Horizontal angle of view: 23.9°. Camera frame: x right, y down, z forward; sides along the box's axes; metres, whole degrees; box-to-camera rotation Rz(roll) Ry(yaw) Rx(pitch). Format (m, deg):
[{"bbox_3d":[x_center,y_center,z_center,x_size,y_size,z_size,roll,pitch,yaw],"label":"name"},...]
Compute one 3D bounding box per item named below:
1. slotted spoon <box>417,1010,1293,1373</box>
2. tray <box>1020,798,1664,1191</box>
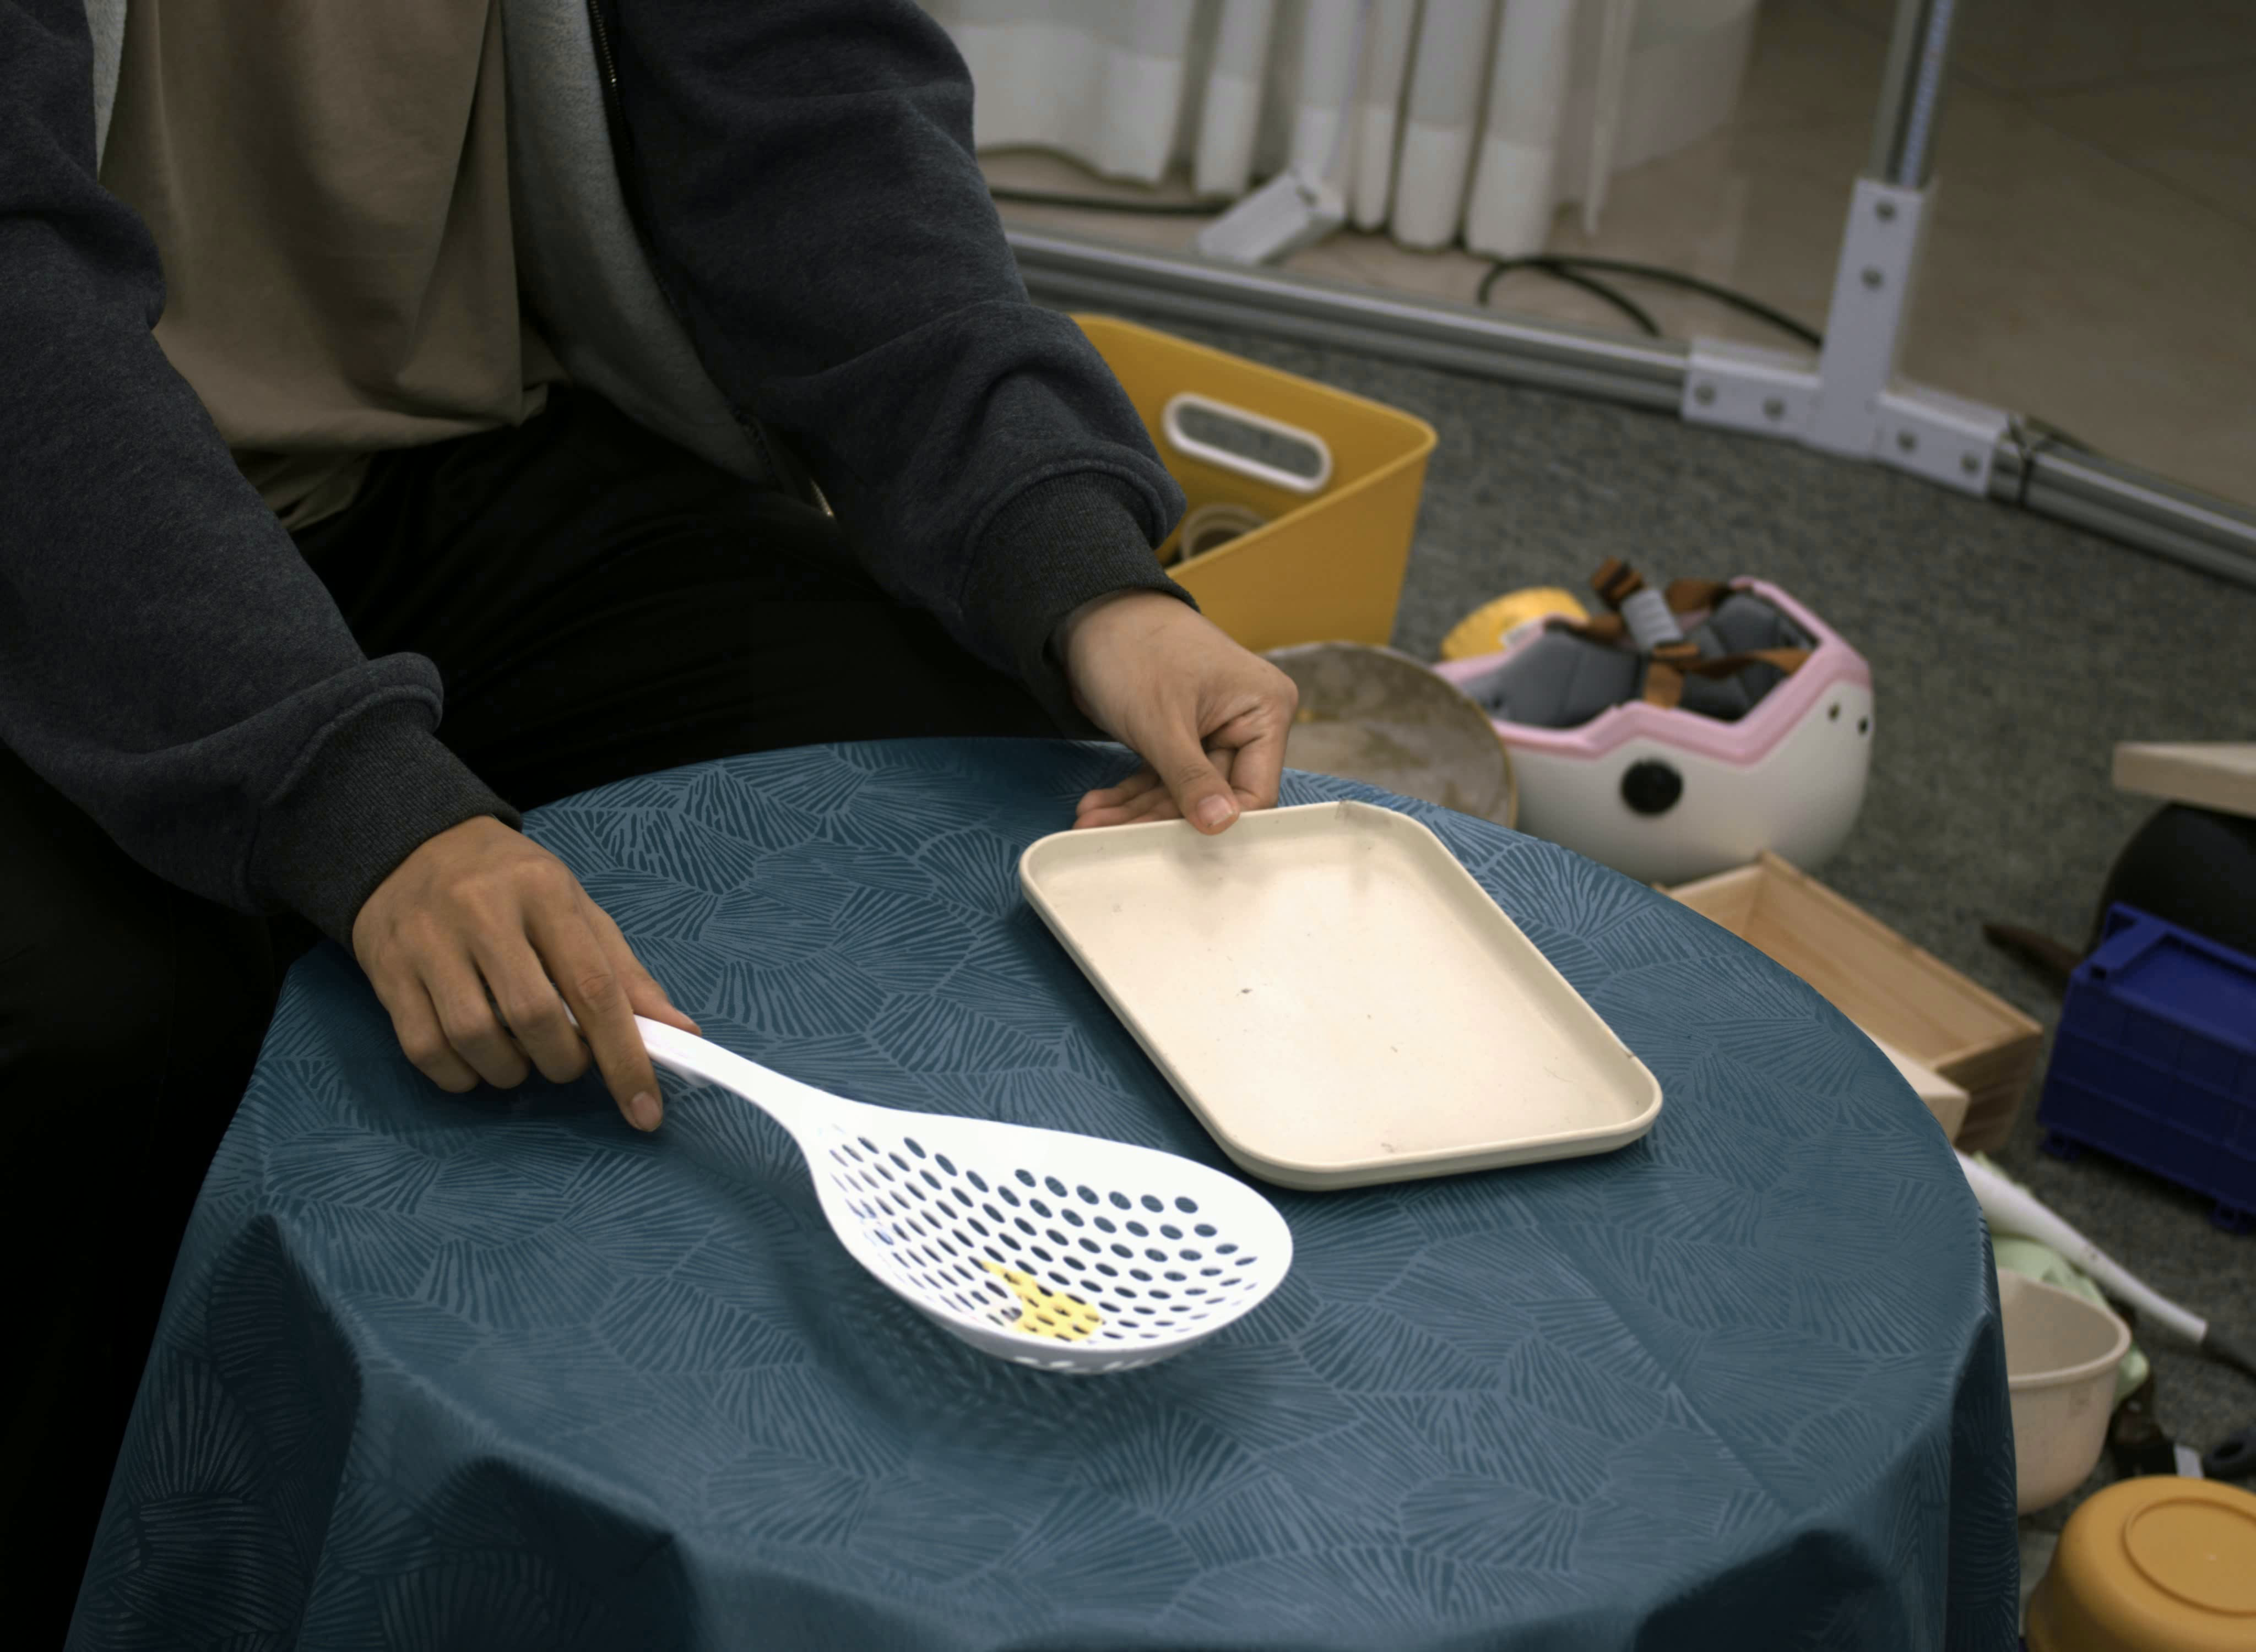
[{"bbox_3d":[-0.103,0.107,1.765,0.350,0.050,0.136,25,34,31],"label":"slotted spoon"},{"bbox_3d":[0.073,0.059,1.918,0.170,0.017,0.242,-7,31,-23],"label":"tray"}]
